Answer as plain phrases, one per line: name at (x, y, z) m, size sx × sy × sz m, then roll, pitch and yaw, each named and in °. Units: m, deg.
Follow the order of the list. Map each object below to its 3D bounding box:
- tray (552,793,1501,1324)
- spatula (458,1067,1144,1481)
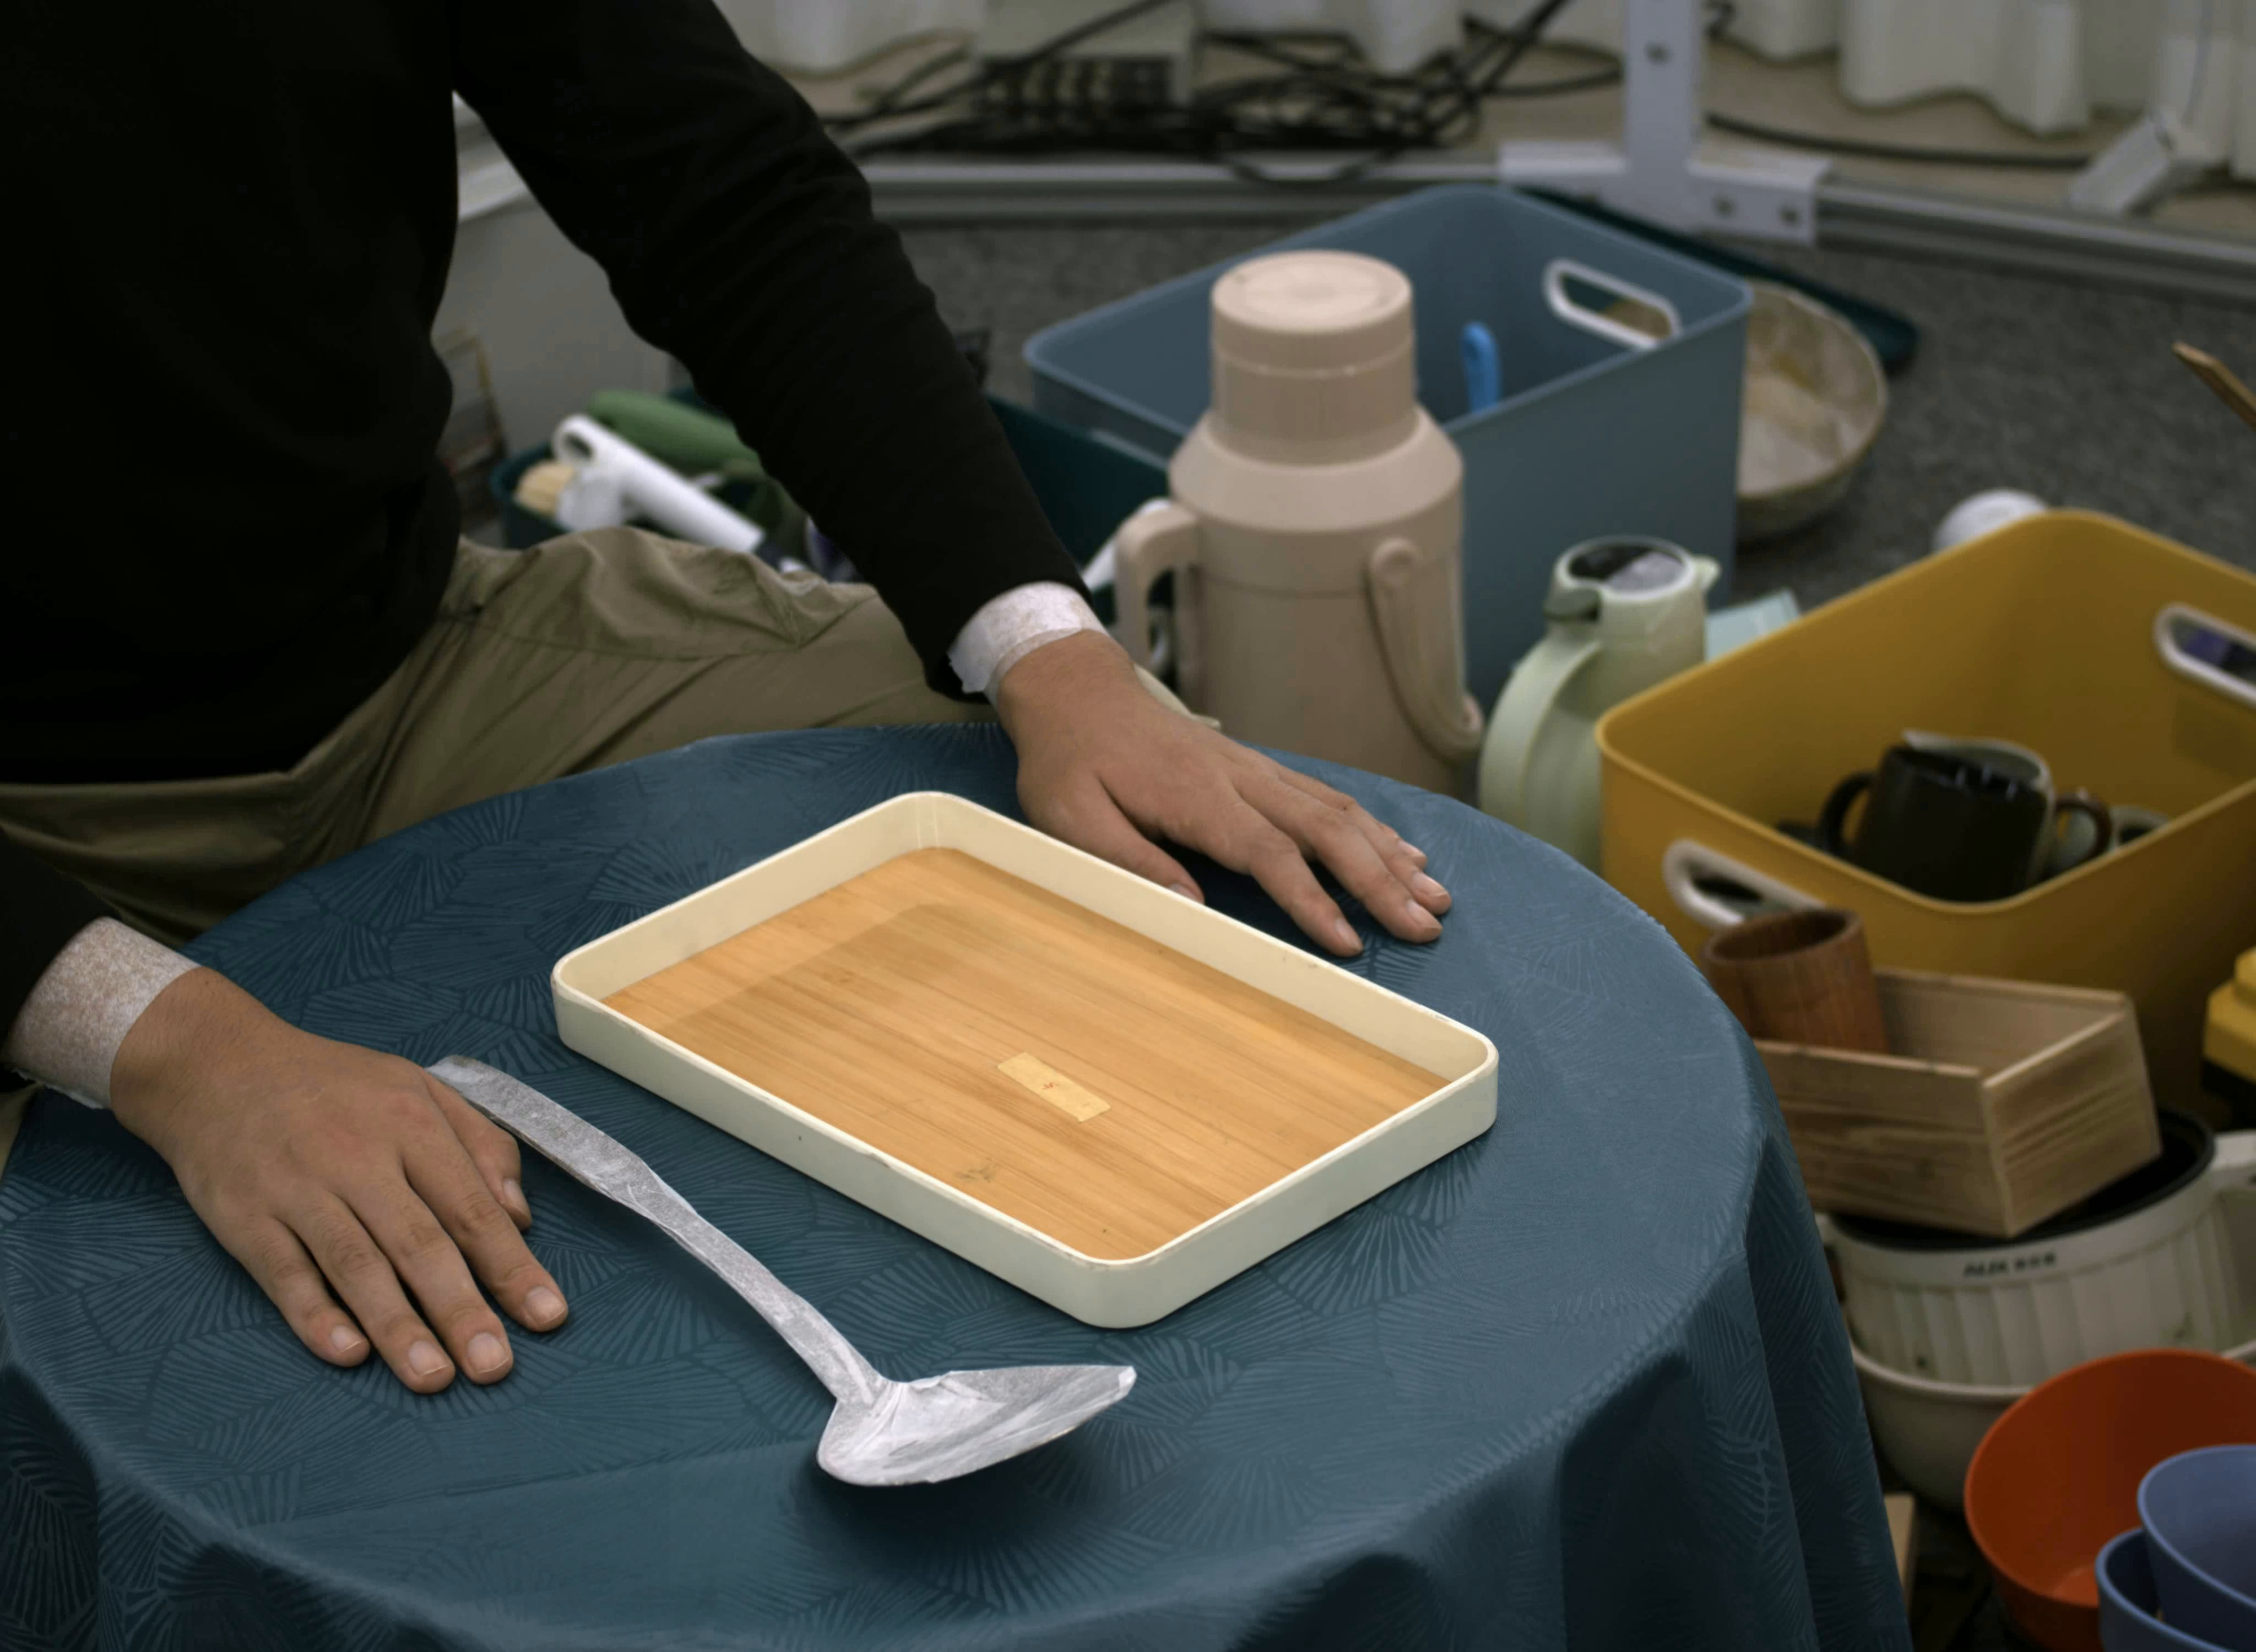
tray at (-0.038, 0.074, 1.927) m, size 0.194 × 0.027 × 0.300 m, roll -26°, pitch 35°, yaw -37°
spatula at (-0.129, 0.135, 1.807) m, size 0.099 × 0.044 × 0.365 m, roll -21°, pitch 32°, yaw -30°
